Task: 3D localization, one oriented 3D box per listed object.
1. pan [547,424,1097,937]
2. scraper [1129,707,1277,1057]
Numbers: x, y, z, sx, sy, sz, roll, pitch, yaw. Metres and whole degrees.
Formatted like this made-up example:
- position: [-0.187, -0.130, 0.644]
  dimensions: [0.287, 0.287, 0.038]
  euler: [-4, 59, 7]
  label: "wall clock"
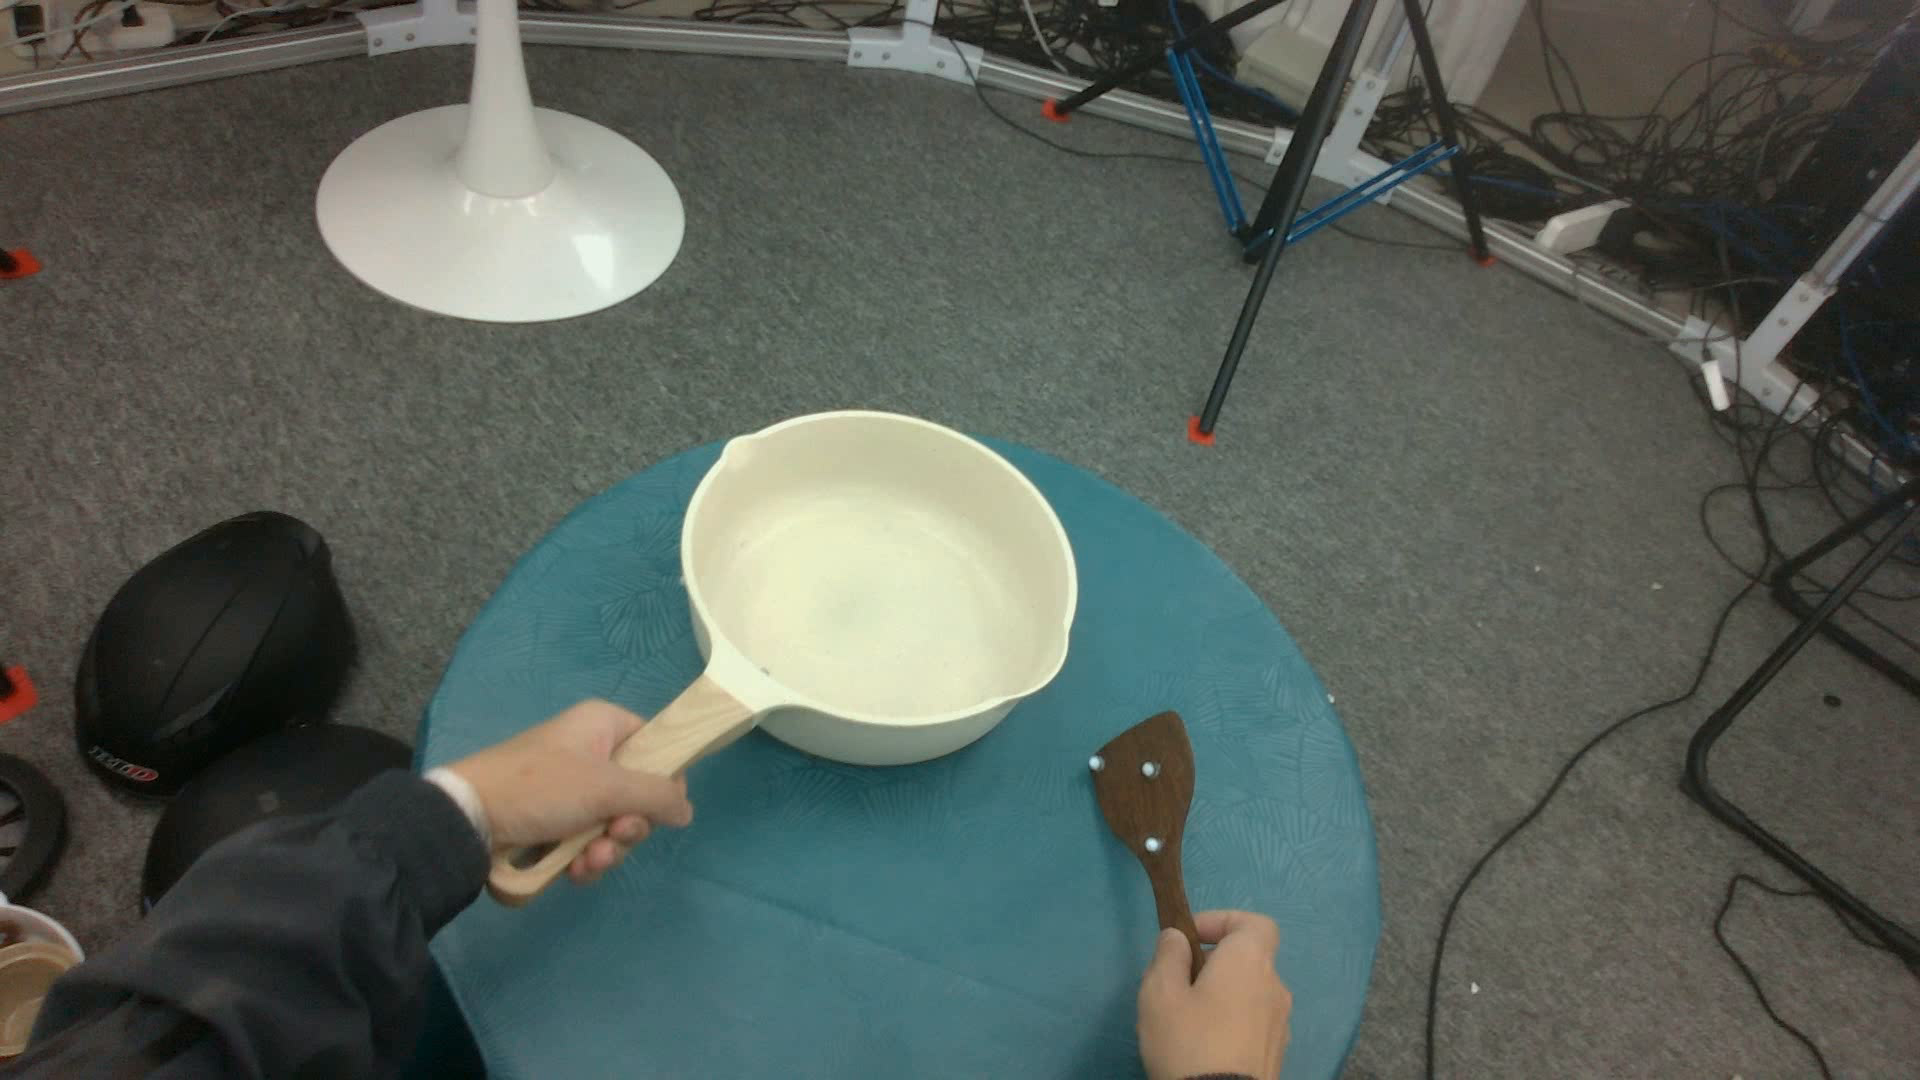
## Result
- position: [-0.089, 0.090, 0.843]
  dimensions: [0.263, 0.101, 0.437]
  euler: [32, 50, 14]
  label: "pan"
- position: [0.149, 0.198, 0.813]
  dimensions: [0.011, 0.075, 0.212]
  euler: [28, 36, -34]
  label: "scraper"
